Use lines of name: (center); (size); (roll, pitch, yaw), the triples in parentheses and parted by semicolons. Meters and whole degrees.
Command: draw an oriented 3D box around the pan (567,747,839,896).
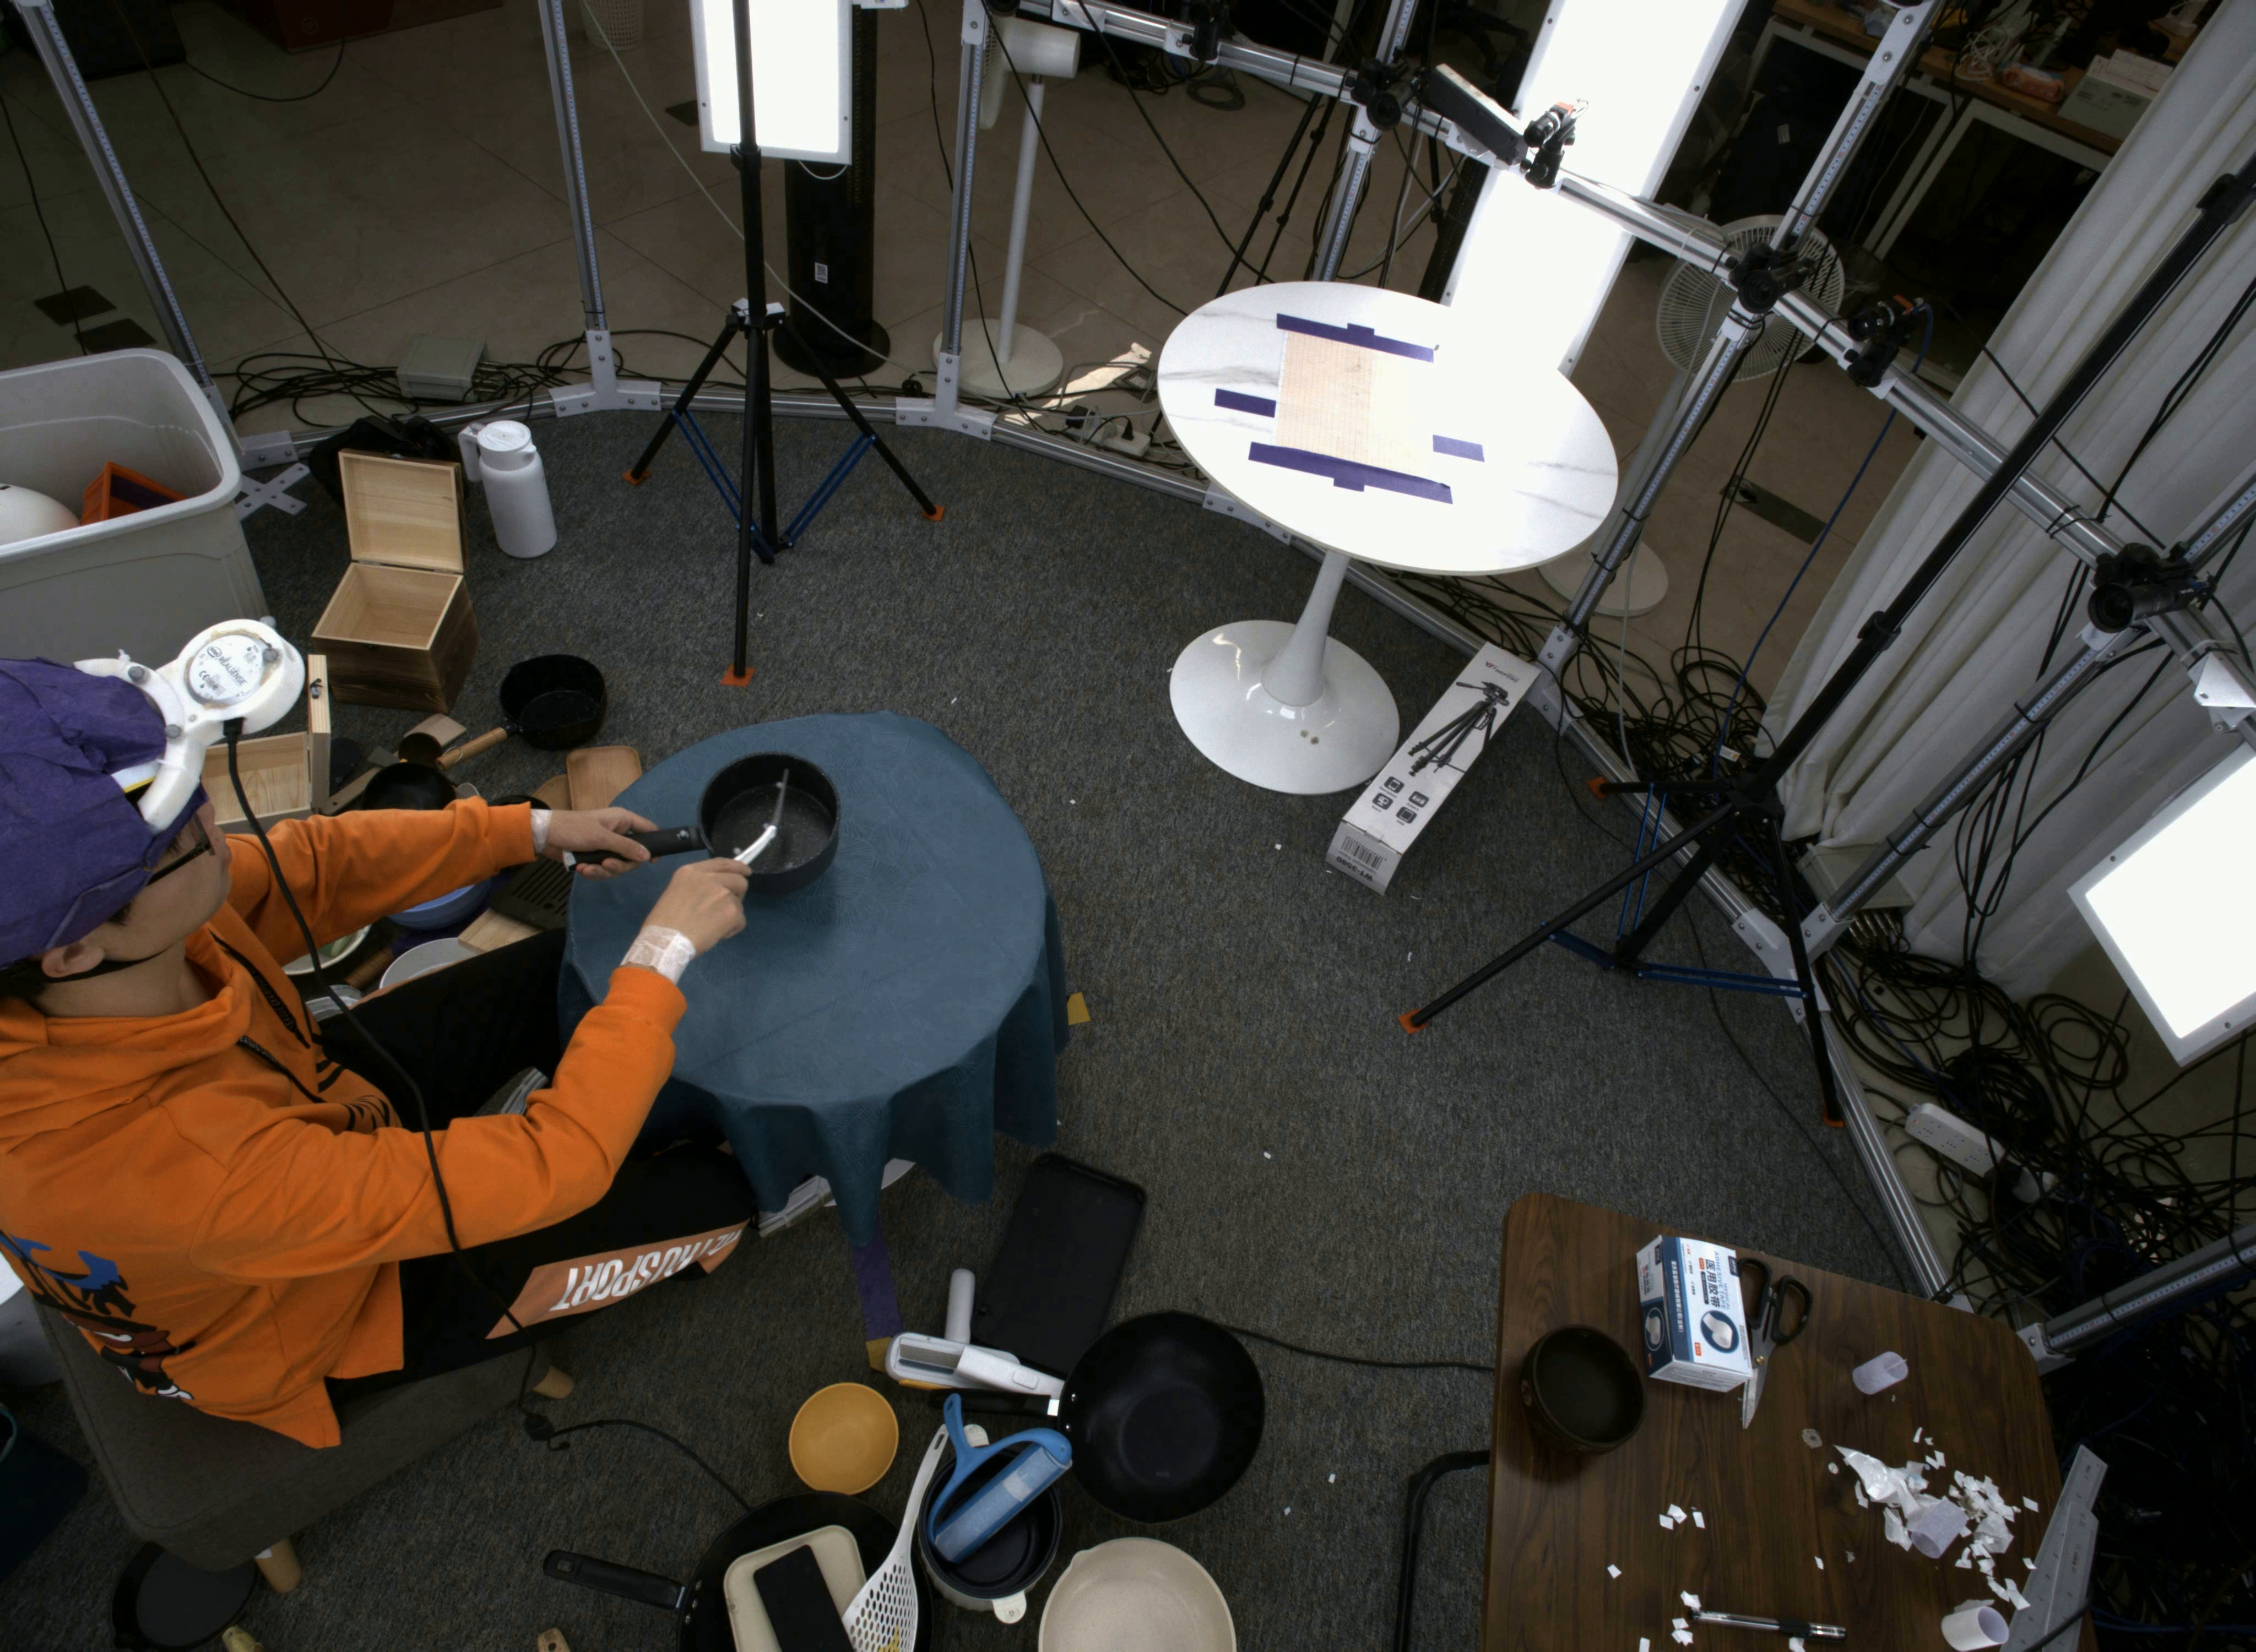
pan: (-0.515, 0.011, 1.564); (0.330, 0.088, 0.169); (-11, 65, -20)

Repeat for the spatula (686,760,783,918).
spatula: (-0.434, 0.012, 1.472); (0.032, 0.060, 0.283); (14, 31, -2)
